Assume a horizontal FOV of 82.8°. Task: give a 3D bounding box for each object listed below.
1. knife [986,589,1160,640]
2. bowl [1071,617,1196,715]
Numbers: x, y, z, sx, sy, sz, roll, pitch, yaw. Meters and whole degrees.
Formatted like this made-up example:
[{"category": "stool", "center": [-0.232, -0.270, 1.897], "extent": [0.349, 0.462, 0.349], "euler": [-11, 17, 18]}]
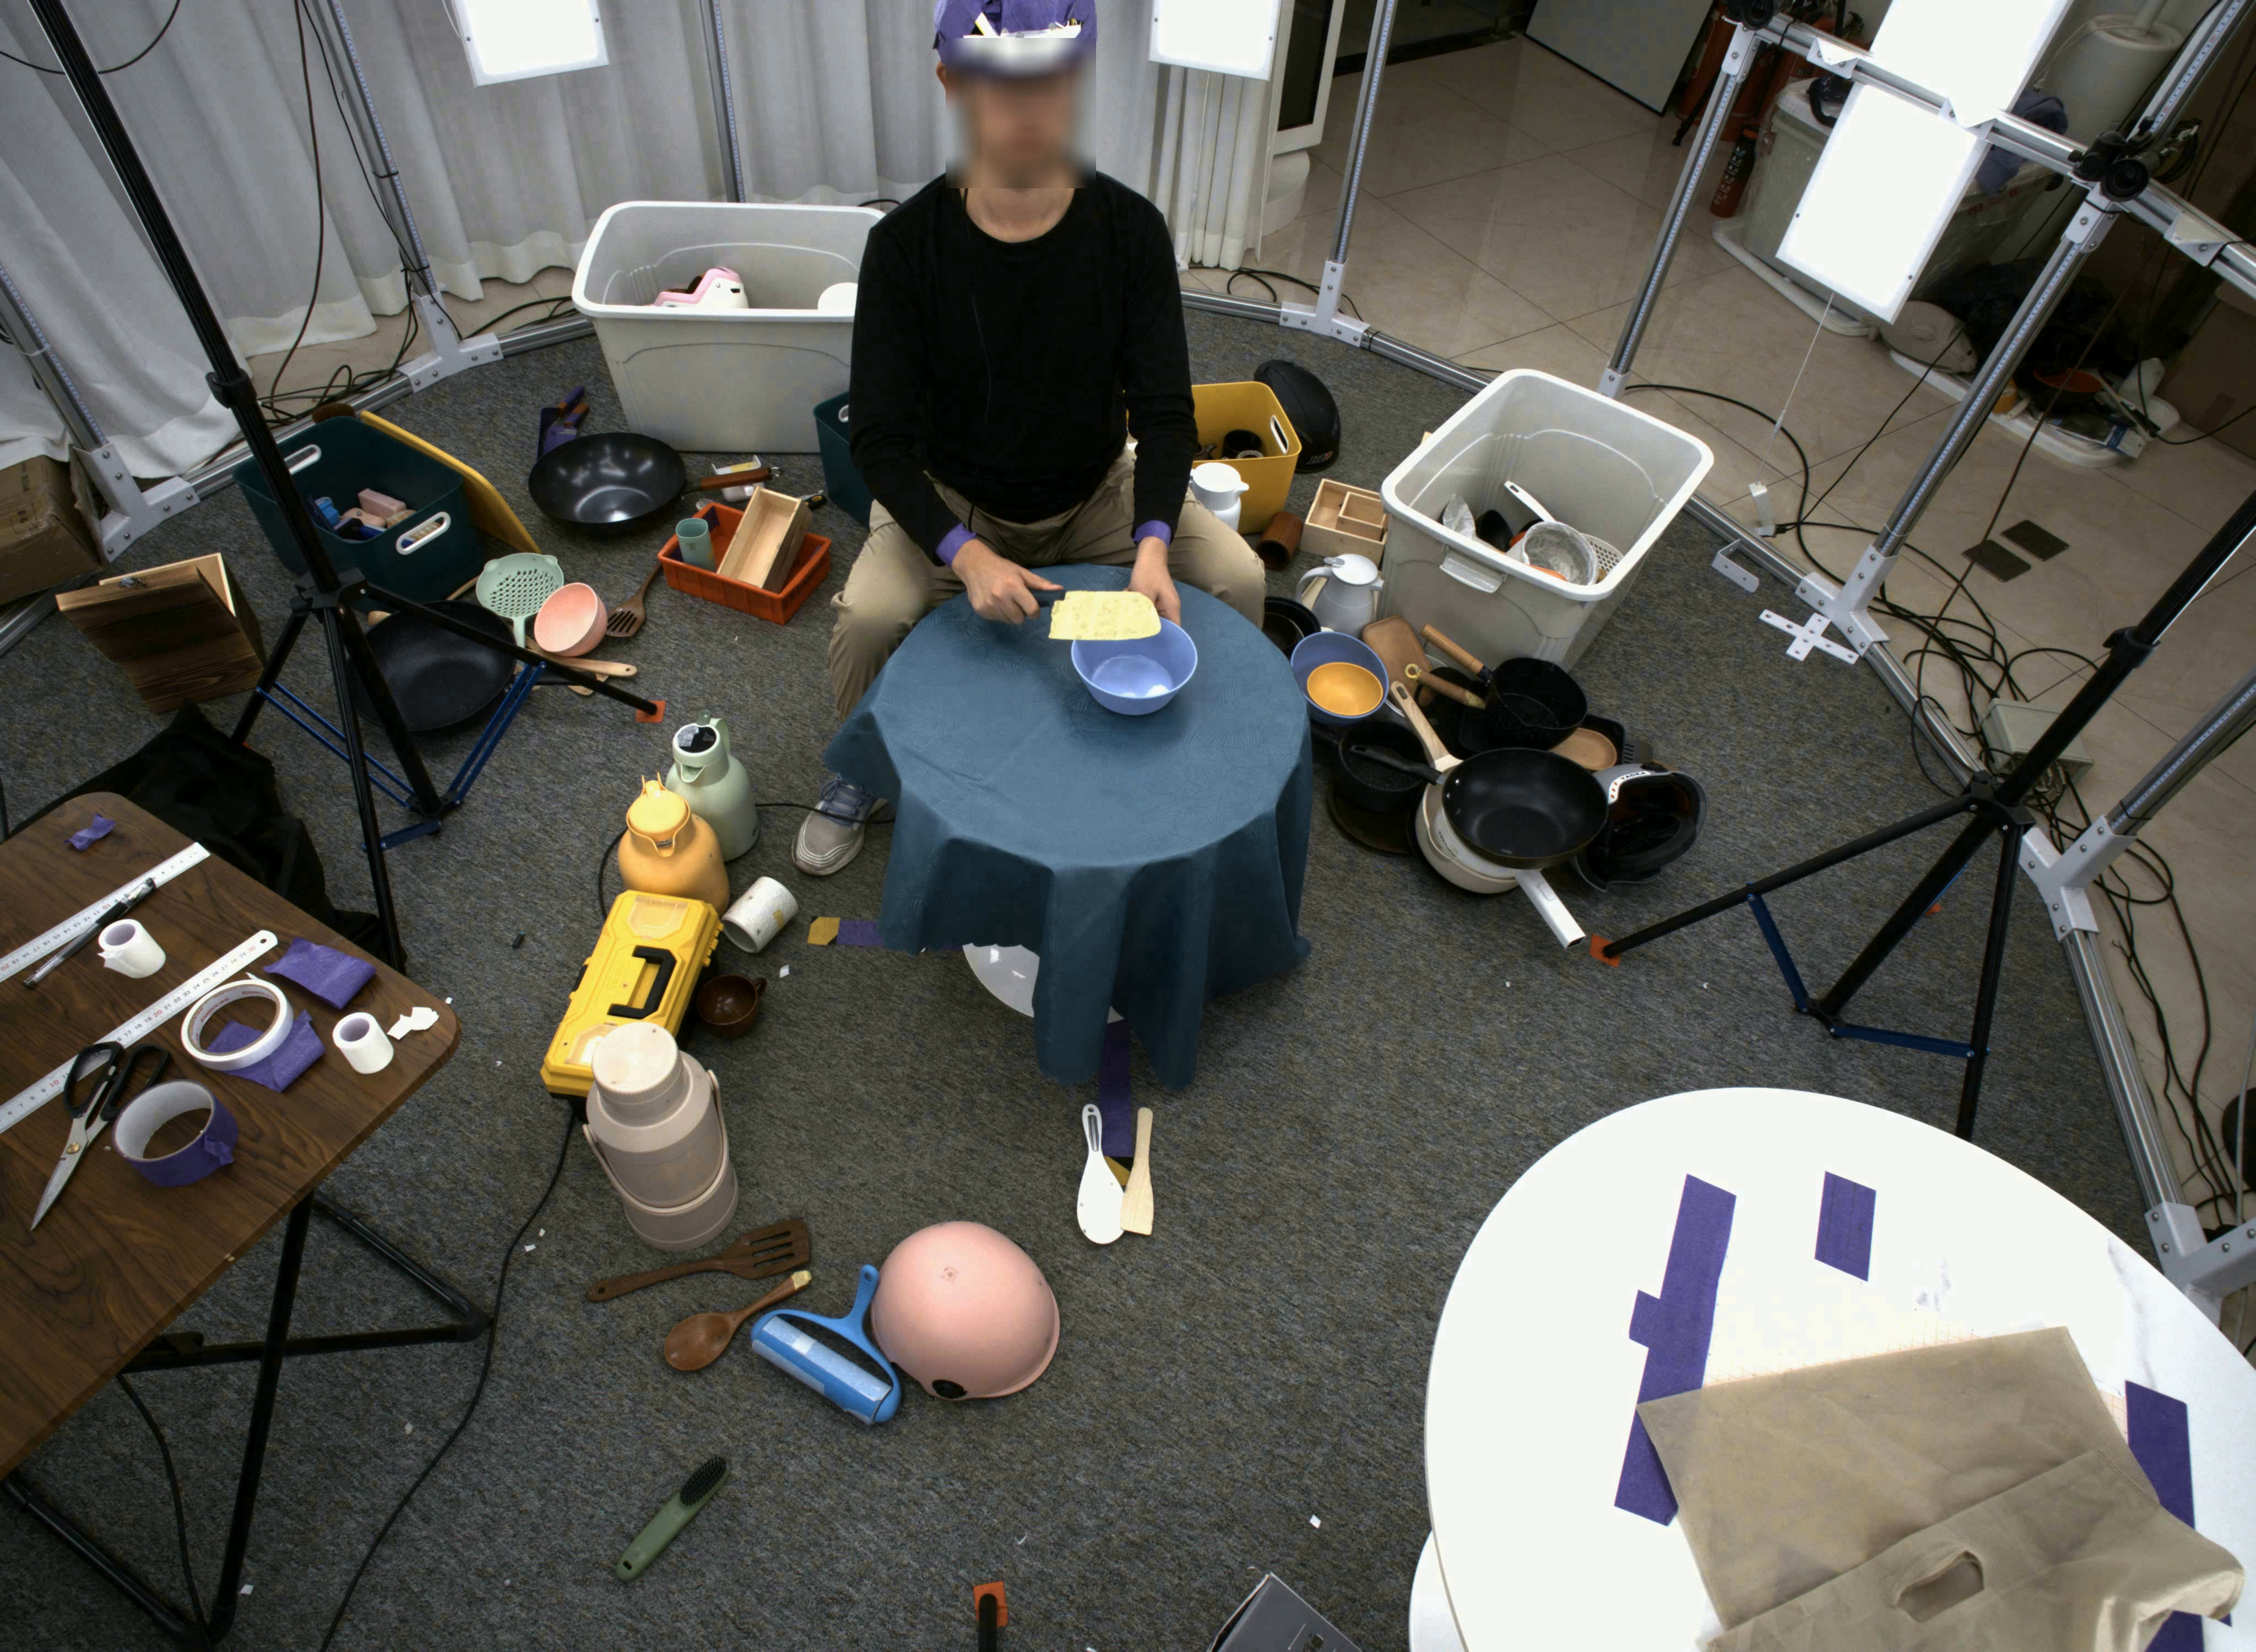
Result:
[{"category": "knife", "center": [-0.082, -0.302, 1.825], "extent": [0.291, 0.027, 0.082], "euler": [8, 74, 29]}, {"category": "bowl", "center": [0.006, -0.220, 1.817], "extent": [0.176, 0.068, 0.180], "euler": [1, 49, -2]}]
